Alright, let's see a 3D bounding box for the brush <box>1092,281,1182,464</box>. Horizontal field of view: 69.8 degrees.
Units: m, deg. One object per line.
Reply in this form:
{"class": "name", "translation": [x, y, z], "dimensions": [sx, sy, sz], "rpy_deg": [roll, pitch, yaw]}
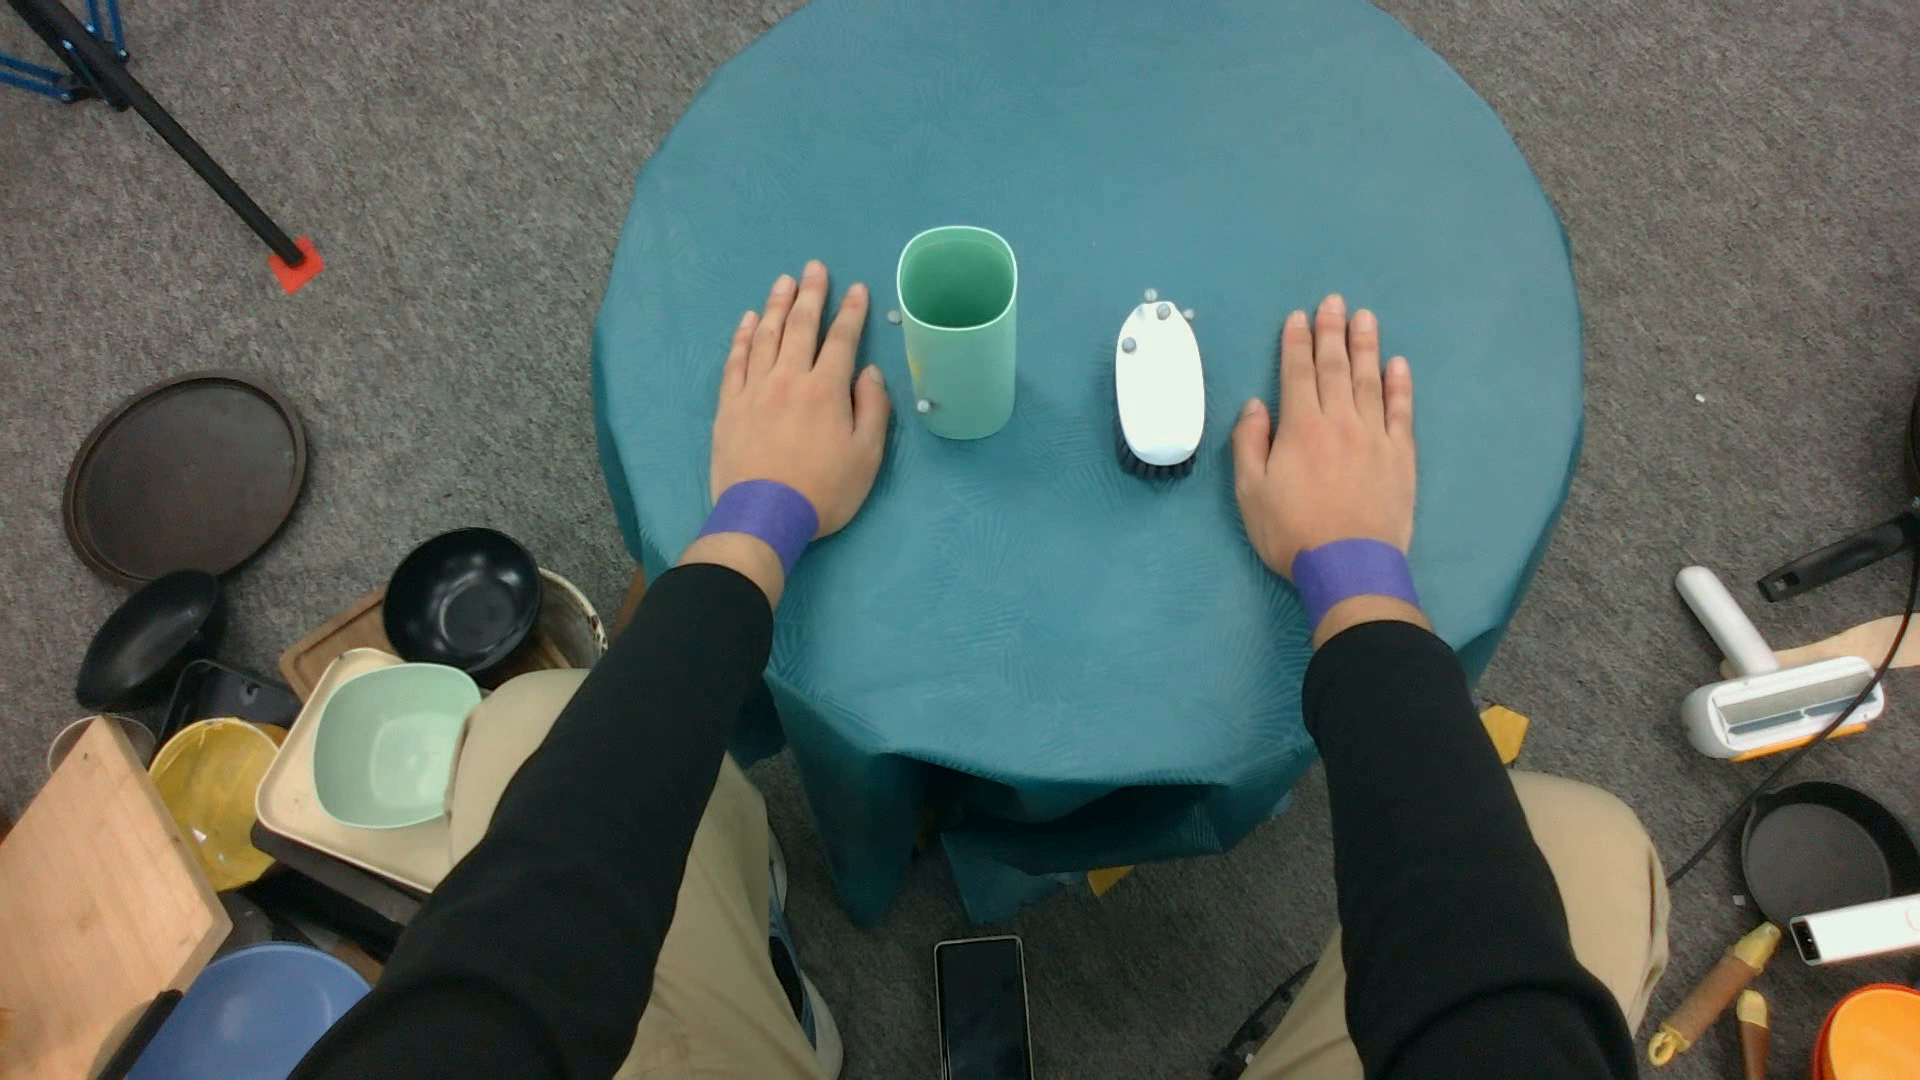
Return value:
{"class": "brush", "translation": [0.102, -0.102, 0.787], "dimensions": [0.050, 0.072, 0.099], "rpy_deg": [0, 68, 2]}

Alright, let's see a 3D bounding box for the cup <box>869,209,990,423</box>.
{"class": "cup", "translation": [-0.013, -0.121, 0.770], "dimensions": [0.067, 0.132, 0.067], "rpy_deg": [0, 69, 0]}
